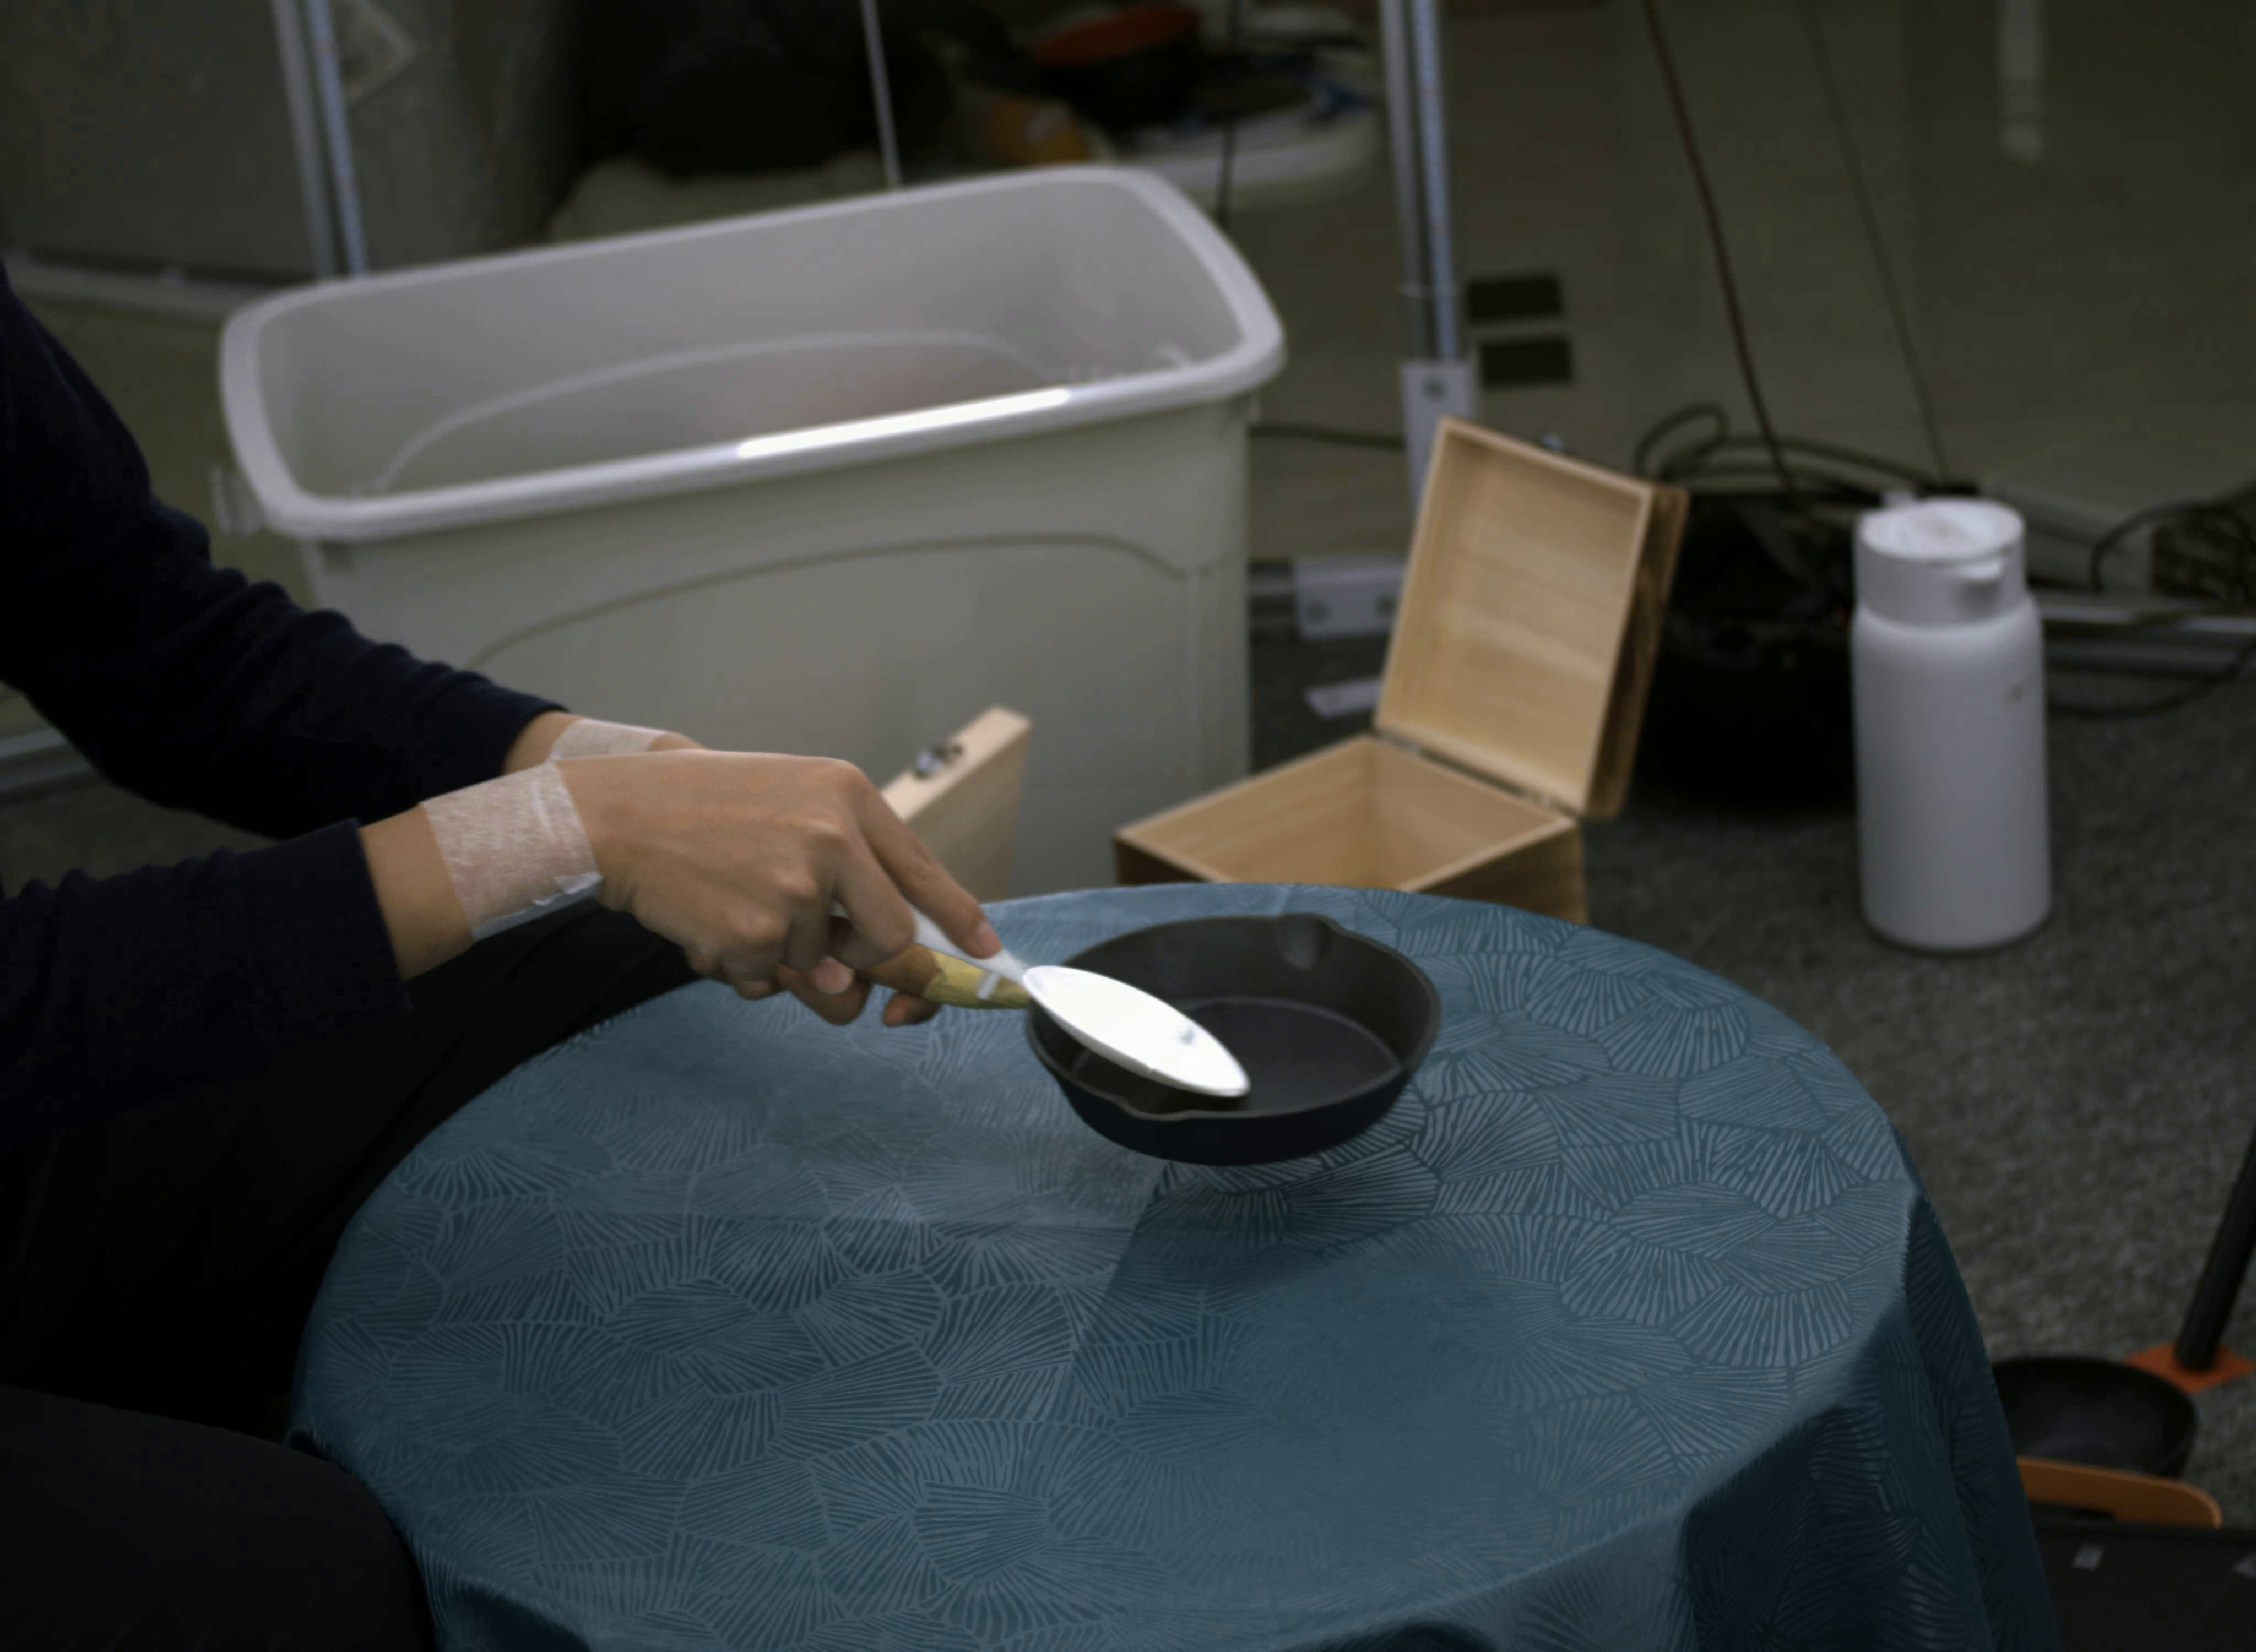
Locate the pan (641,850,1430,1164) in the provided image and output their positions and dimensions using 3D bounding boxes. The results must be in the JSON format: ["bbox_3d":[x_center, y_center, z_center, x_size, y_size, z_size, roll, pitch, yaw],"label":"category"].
[{"bbox_3d":[-0.041,0.061,2.167,0.322,0.050,0.167,12,31,22],"label":"pan"}]

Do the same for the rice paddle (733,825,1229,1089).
[{"bbox_3d":[-0.050,0.051,2.109,0.206,0.030,0.068,24,22,-19],"label":"rice paddle"}]
